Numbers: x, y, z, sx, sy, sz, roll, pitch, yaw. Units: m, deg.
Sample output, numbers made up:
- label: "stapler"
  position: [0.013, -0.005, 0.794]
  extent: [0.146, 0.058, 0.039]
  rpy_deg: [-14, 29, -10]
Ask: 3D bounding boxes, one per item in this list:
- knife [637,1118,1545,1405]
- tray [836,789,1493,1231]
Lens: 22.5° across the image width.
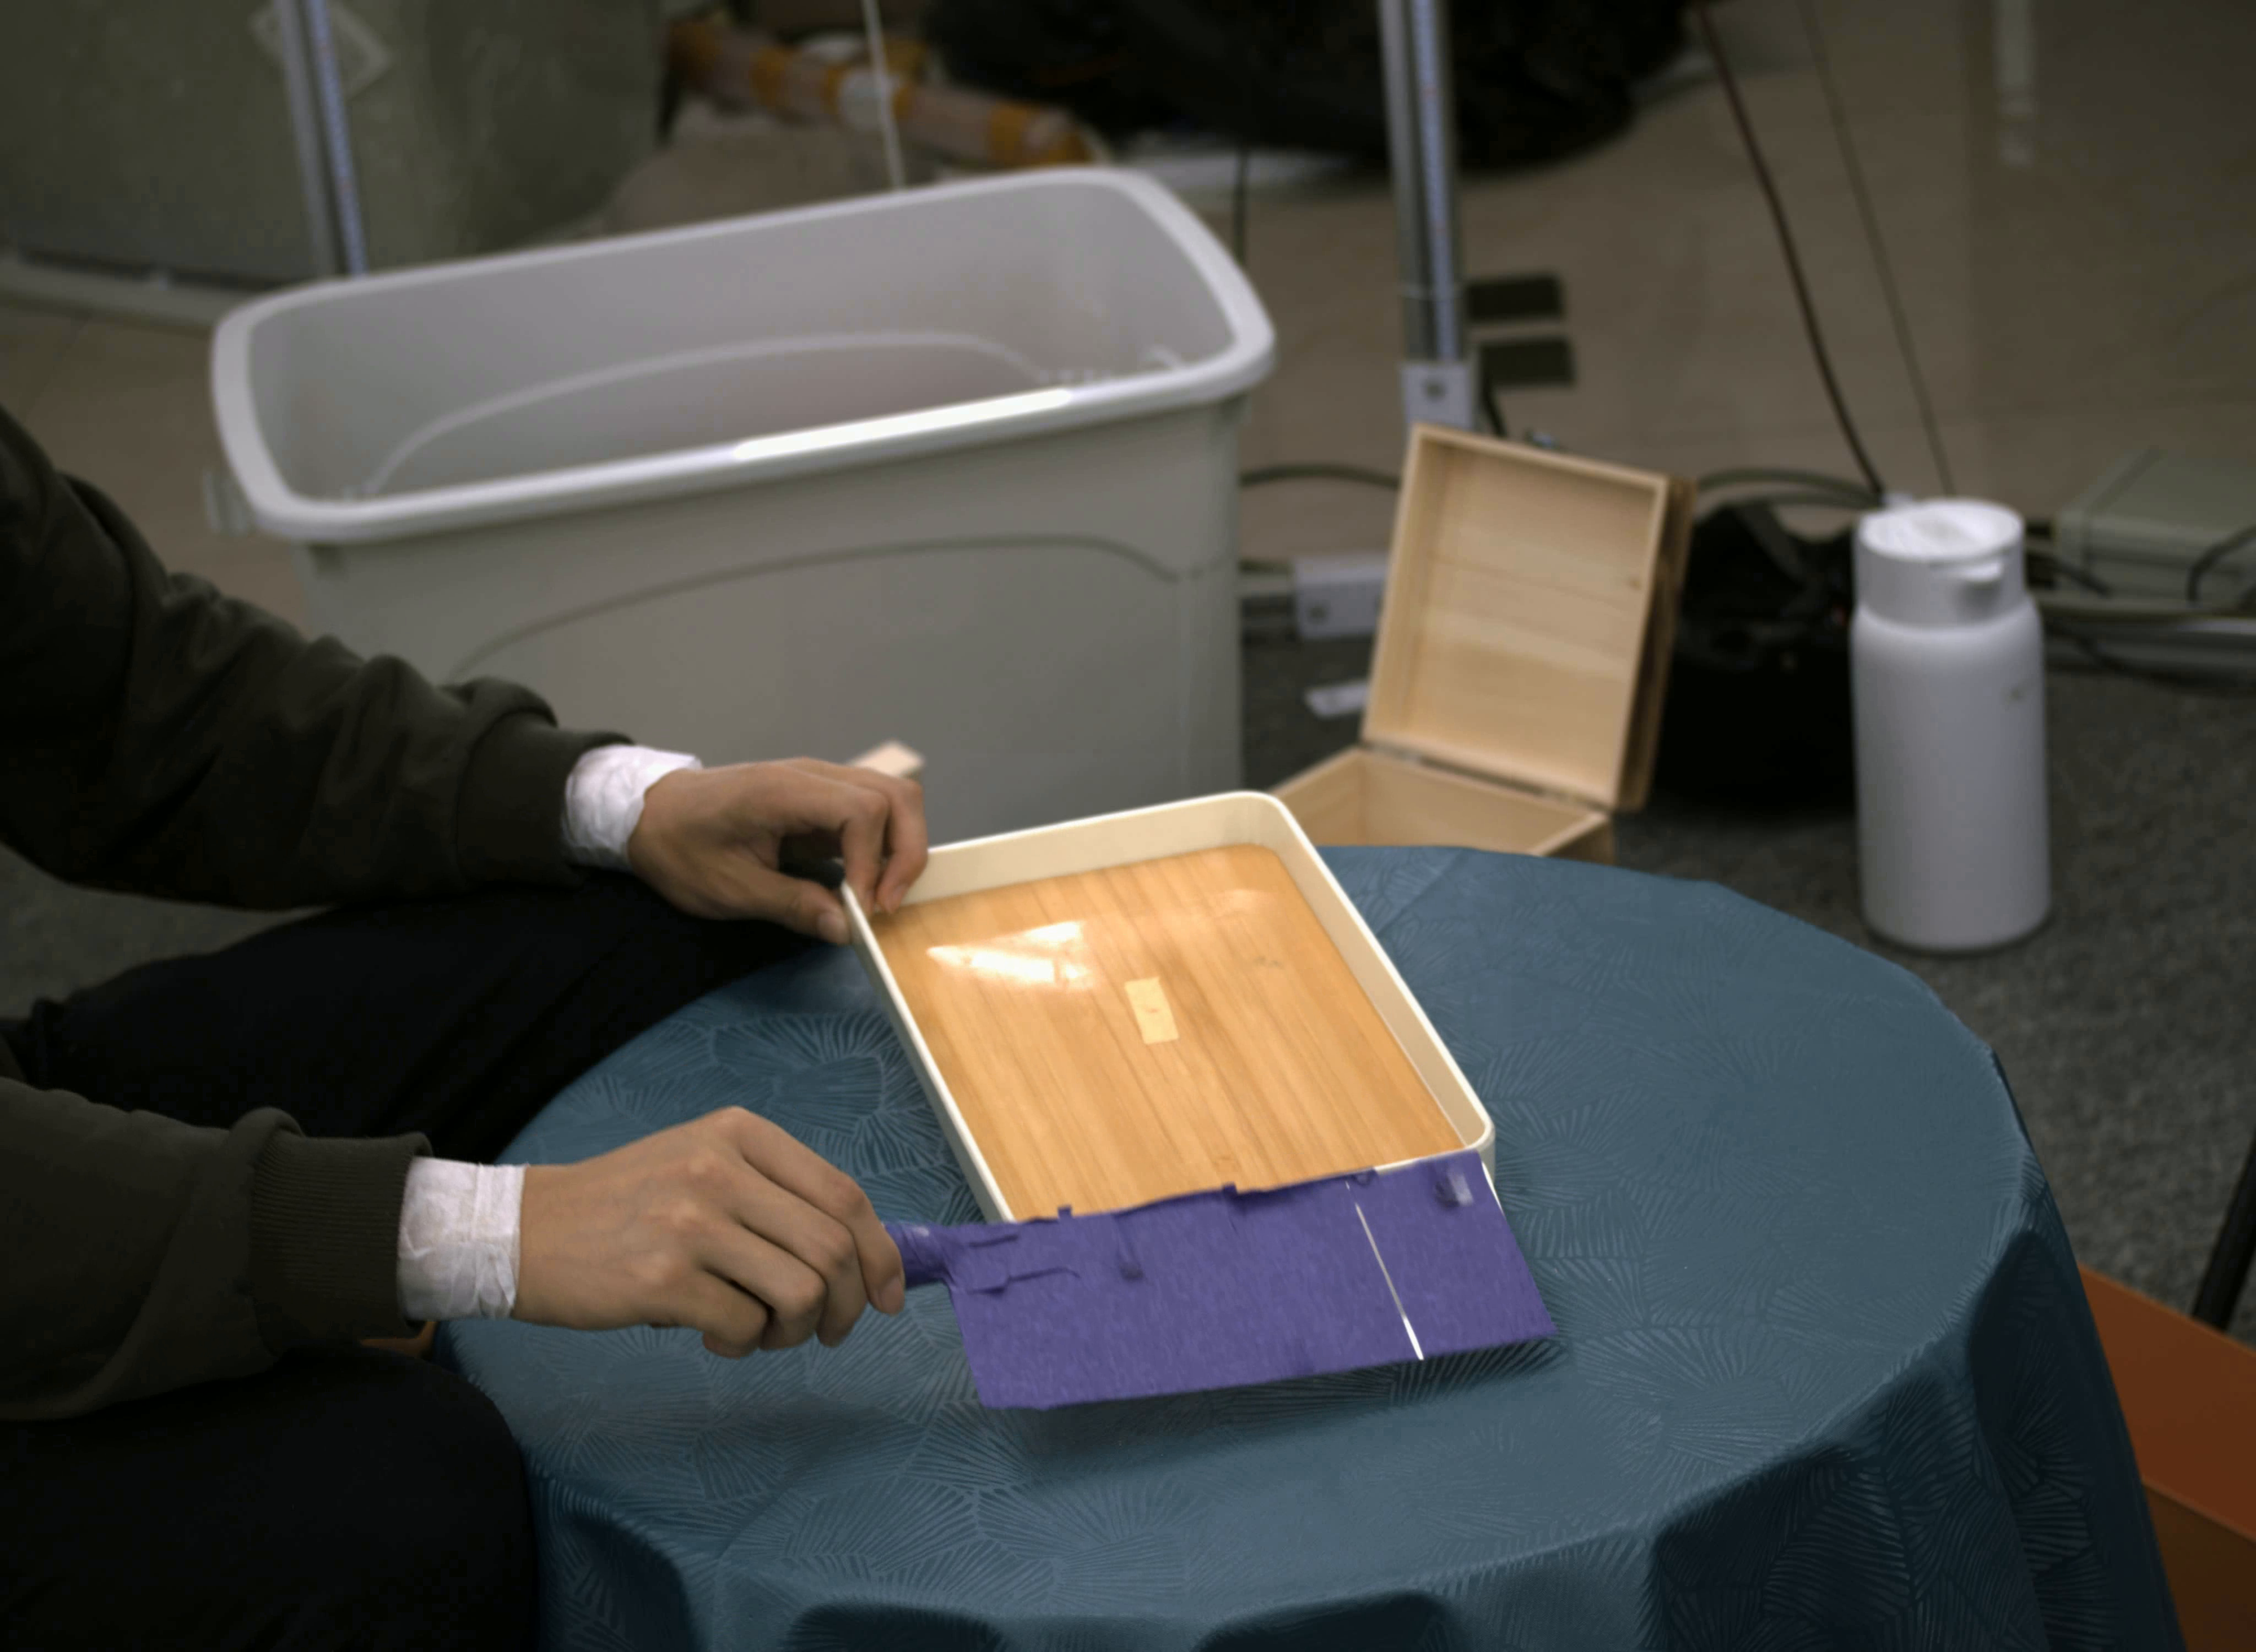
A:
- label: "knife"
  position: [-0.011, 0.161, 1.999]
  extent: [0.314, 0.033, 0.102]
  rpy_deg: [-9, 43, -11]
- label: "tray"
  position: [0.009, 0.078, 2.212]
  extent: [0.191, 0.028, 0.295]
  rpy_deg: [-11, 31, -12]
